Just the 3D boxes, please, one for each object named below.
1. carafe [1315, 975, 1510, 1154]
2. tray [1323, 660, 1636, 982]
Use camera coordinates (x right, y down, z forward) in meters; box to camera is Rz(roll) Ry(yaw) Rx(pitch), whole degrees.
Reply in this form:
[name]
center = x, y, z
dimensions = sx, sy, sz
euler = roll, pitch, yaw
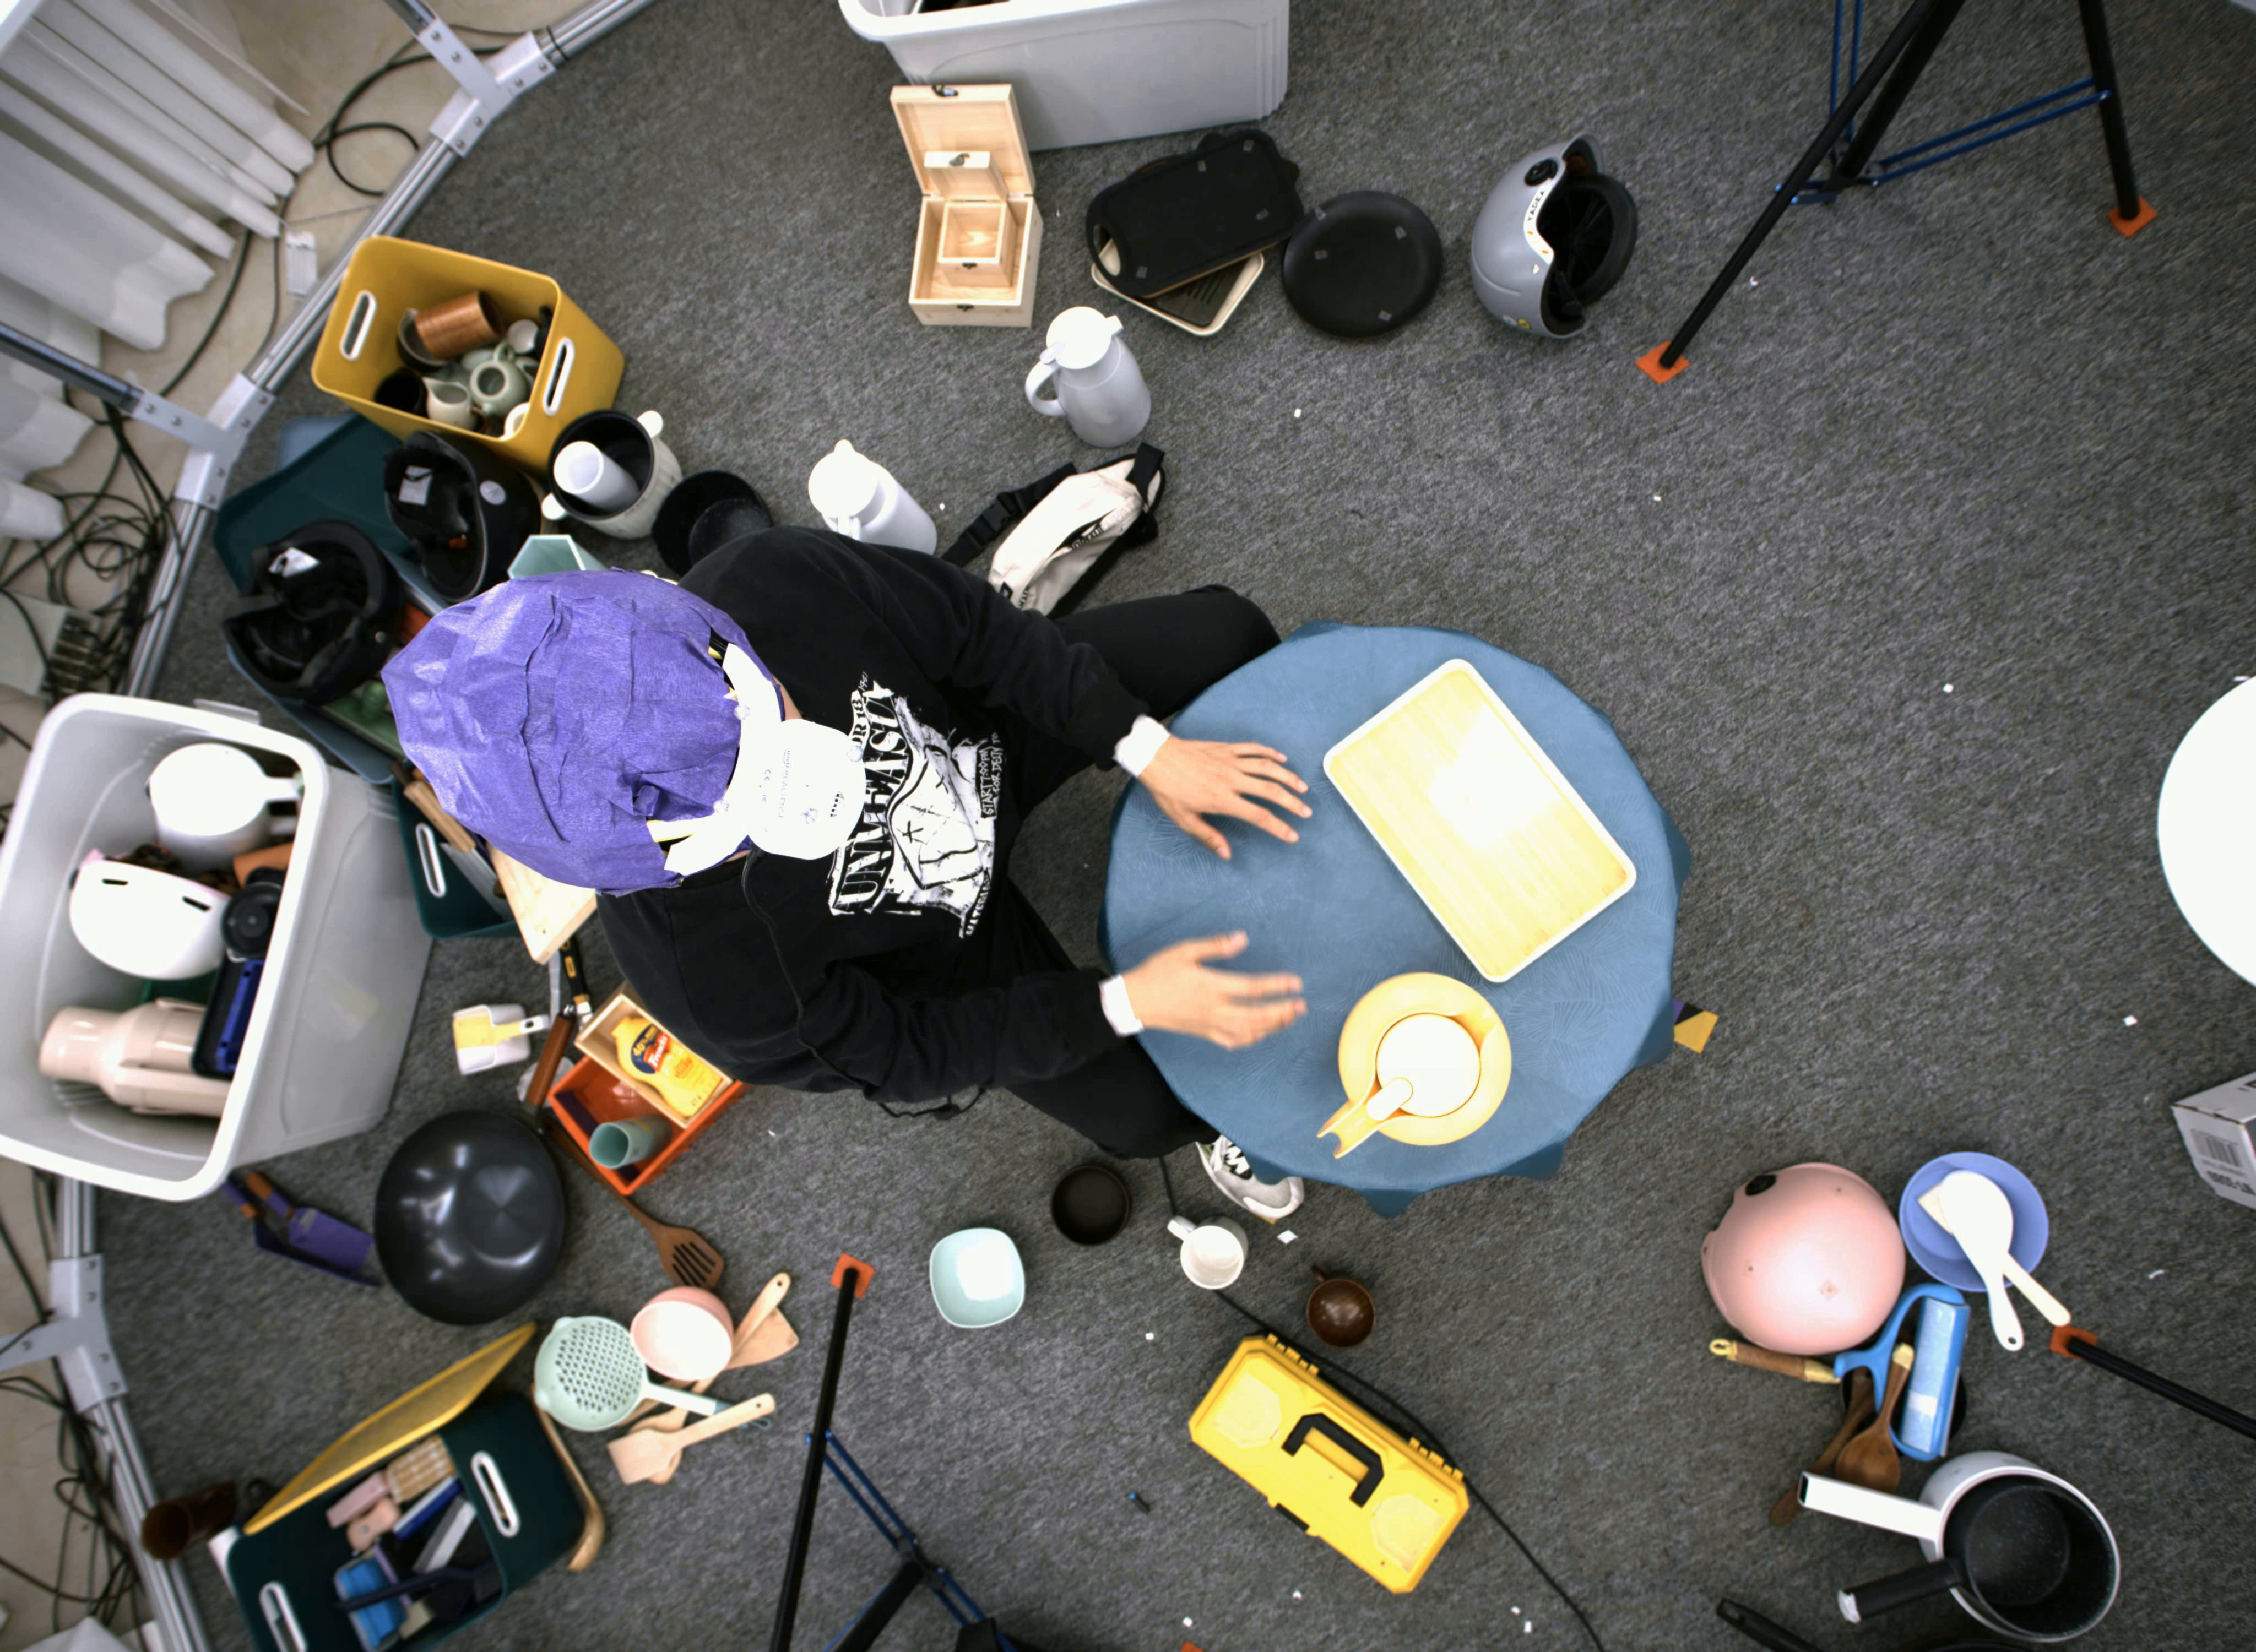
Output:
[carafe]
center = 0.265, 0.233, 1.321
dimensions = 0.203, 0.261, 0.162
euler = -38, 77, 3
[tray]
center = 0.363, -0.008, 1.434
dimensions = 0.192, 0.027, 0.298
euler = -37, 81, 7
